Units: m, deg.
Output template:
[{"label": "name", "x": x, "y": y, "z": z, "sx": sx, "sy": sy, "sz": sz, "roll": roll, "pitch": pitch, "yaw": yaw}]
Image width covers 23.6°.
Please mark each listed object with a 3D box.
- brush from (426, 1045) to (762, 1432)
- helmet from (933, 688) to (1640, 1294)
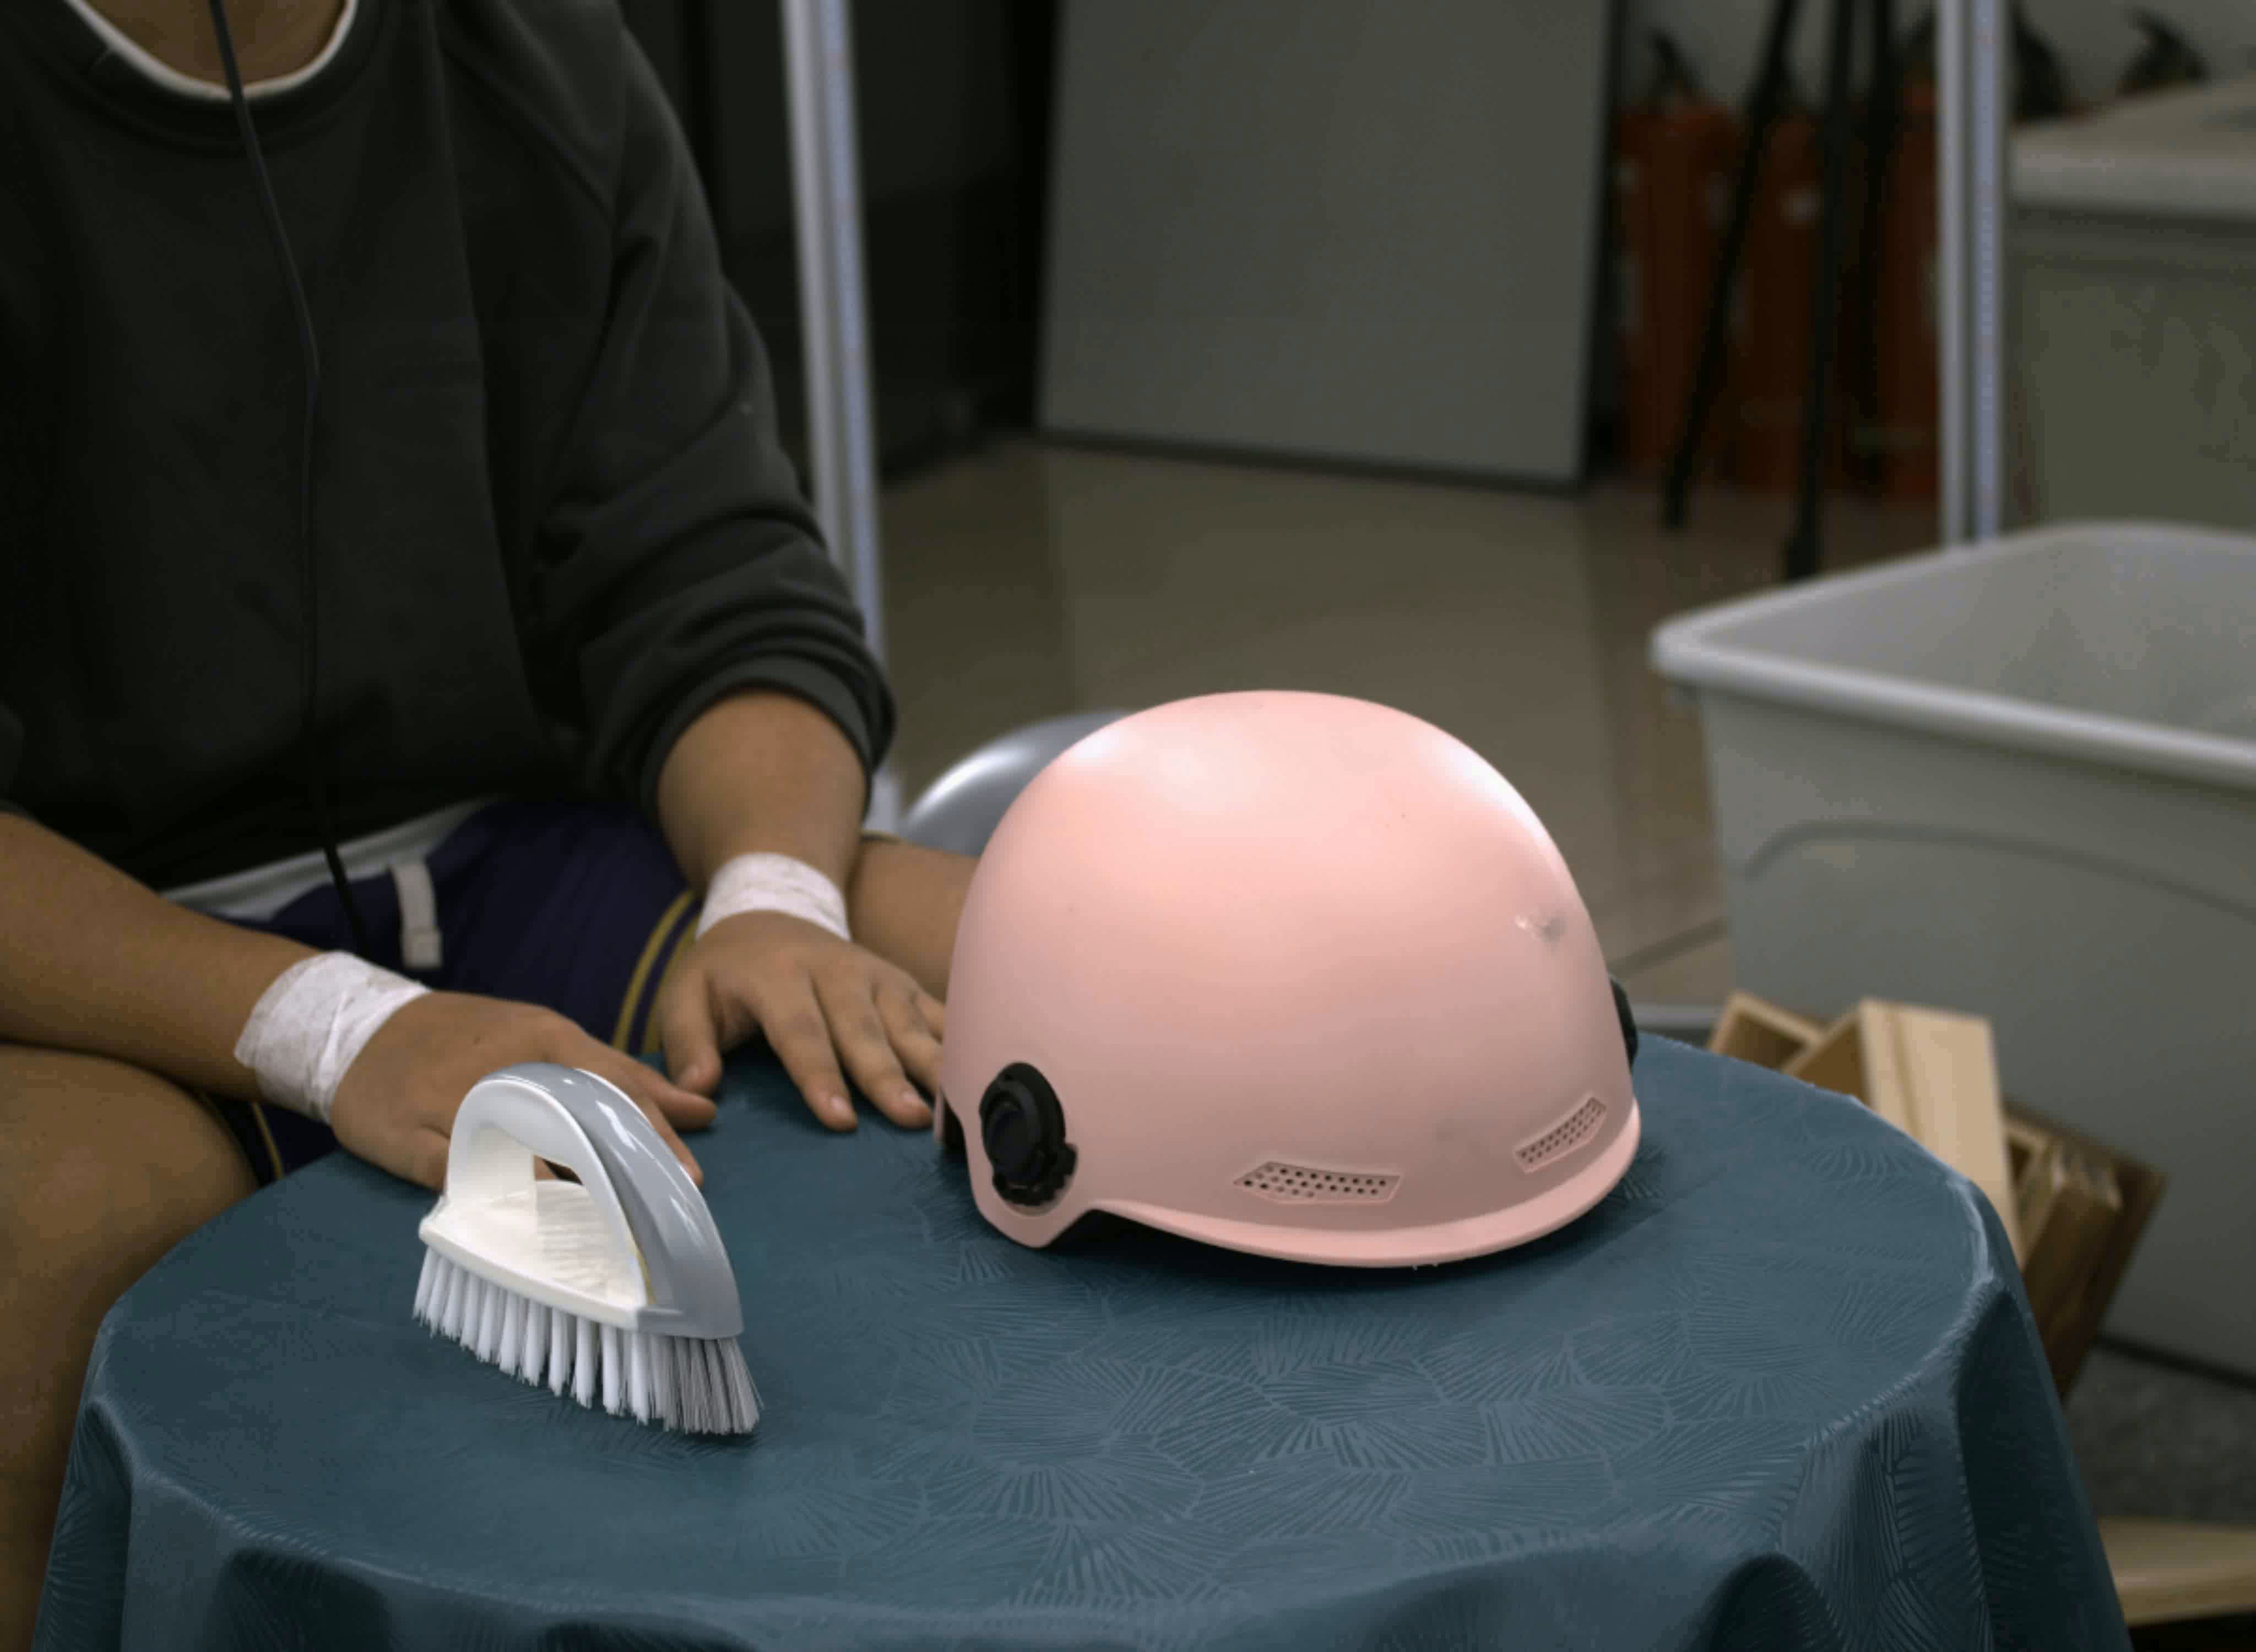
[{"label": "brush", "x": -0.157, "y": 0.120, "z": 1.625, "sx": 0.060, "sy": 0.095, "sz": 0.177, "roll": -13, "pitch": 18, "yaw": -29}, {"label": "helmet", "x": 0.051, "y": 0.042, "z": 1.760, "sx": 0.229, "sy": 0.160, "sz": 0.269, "roll": -9, "pitch": 18, "yaw": -23}]
